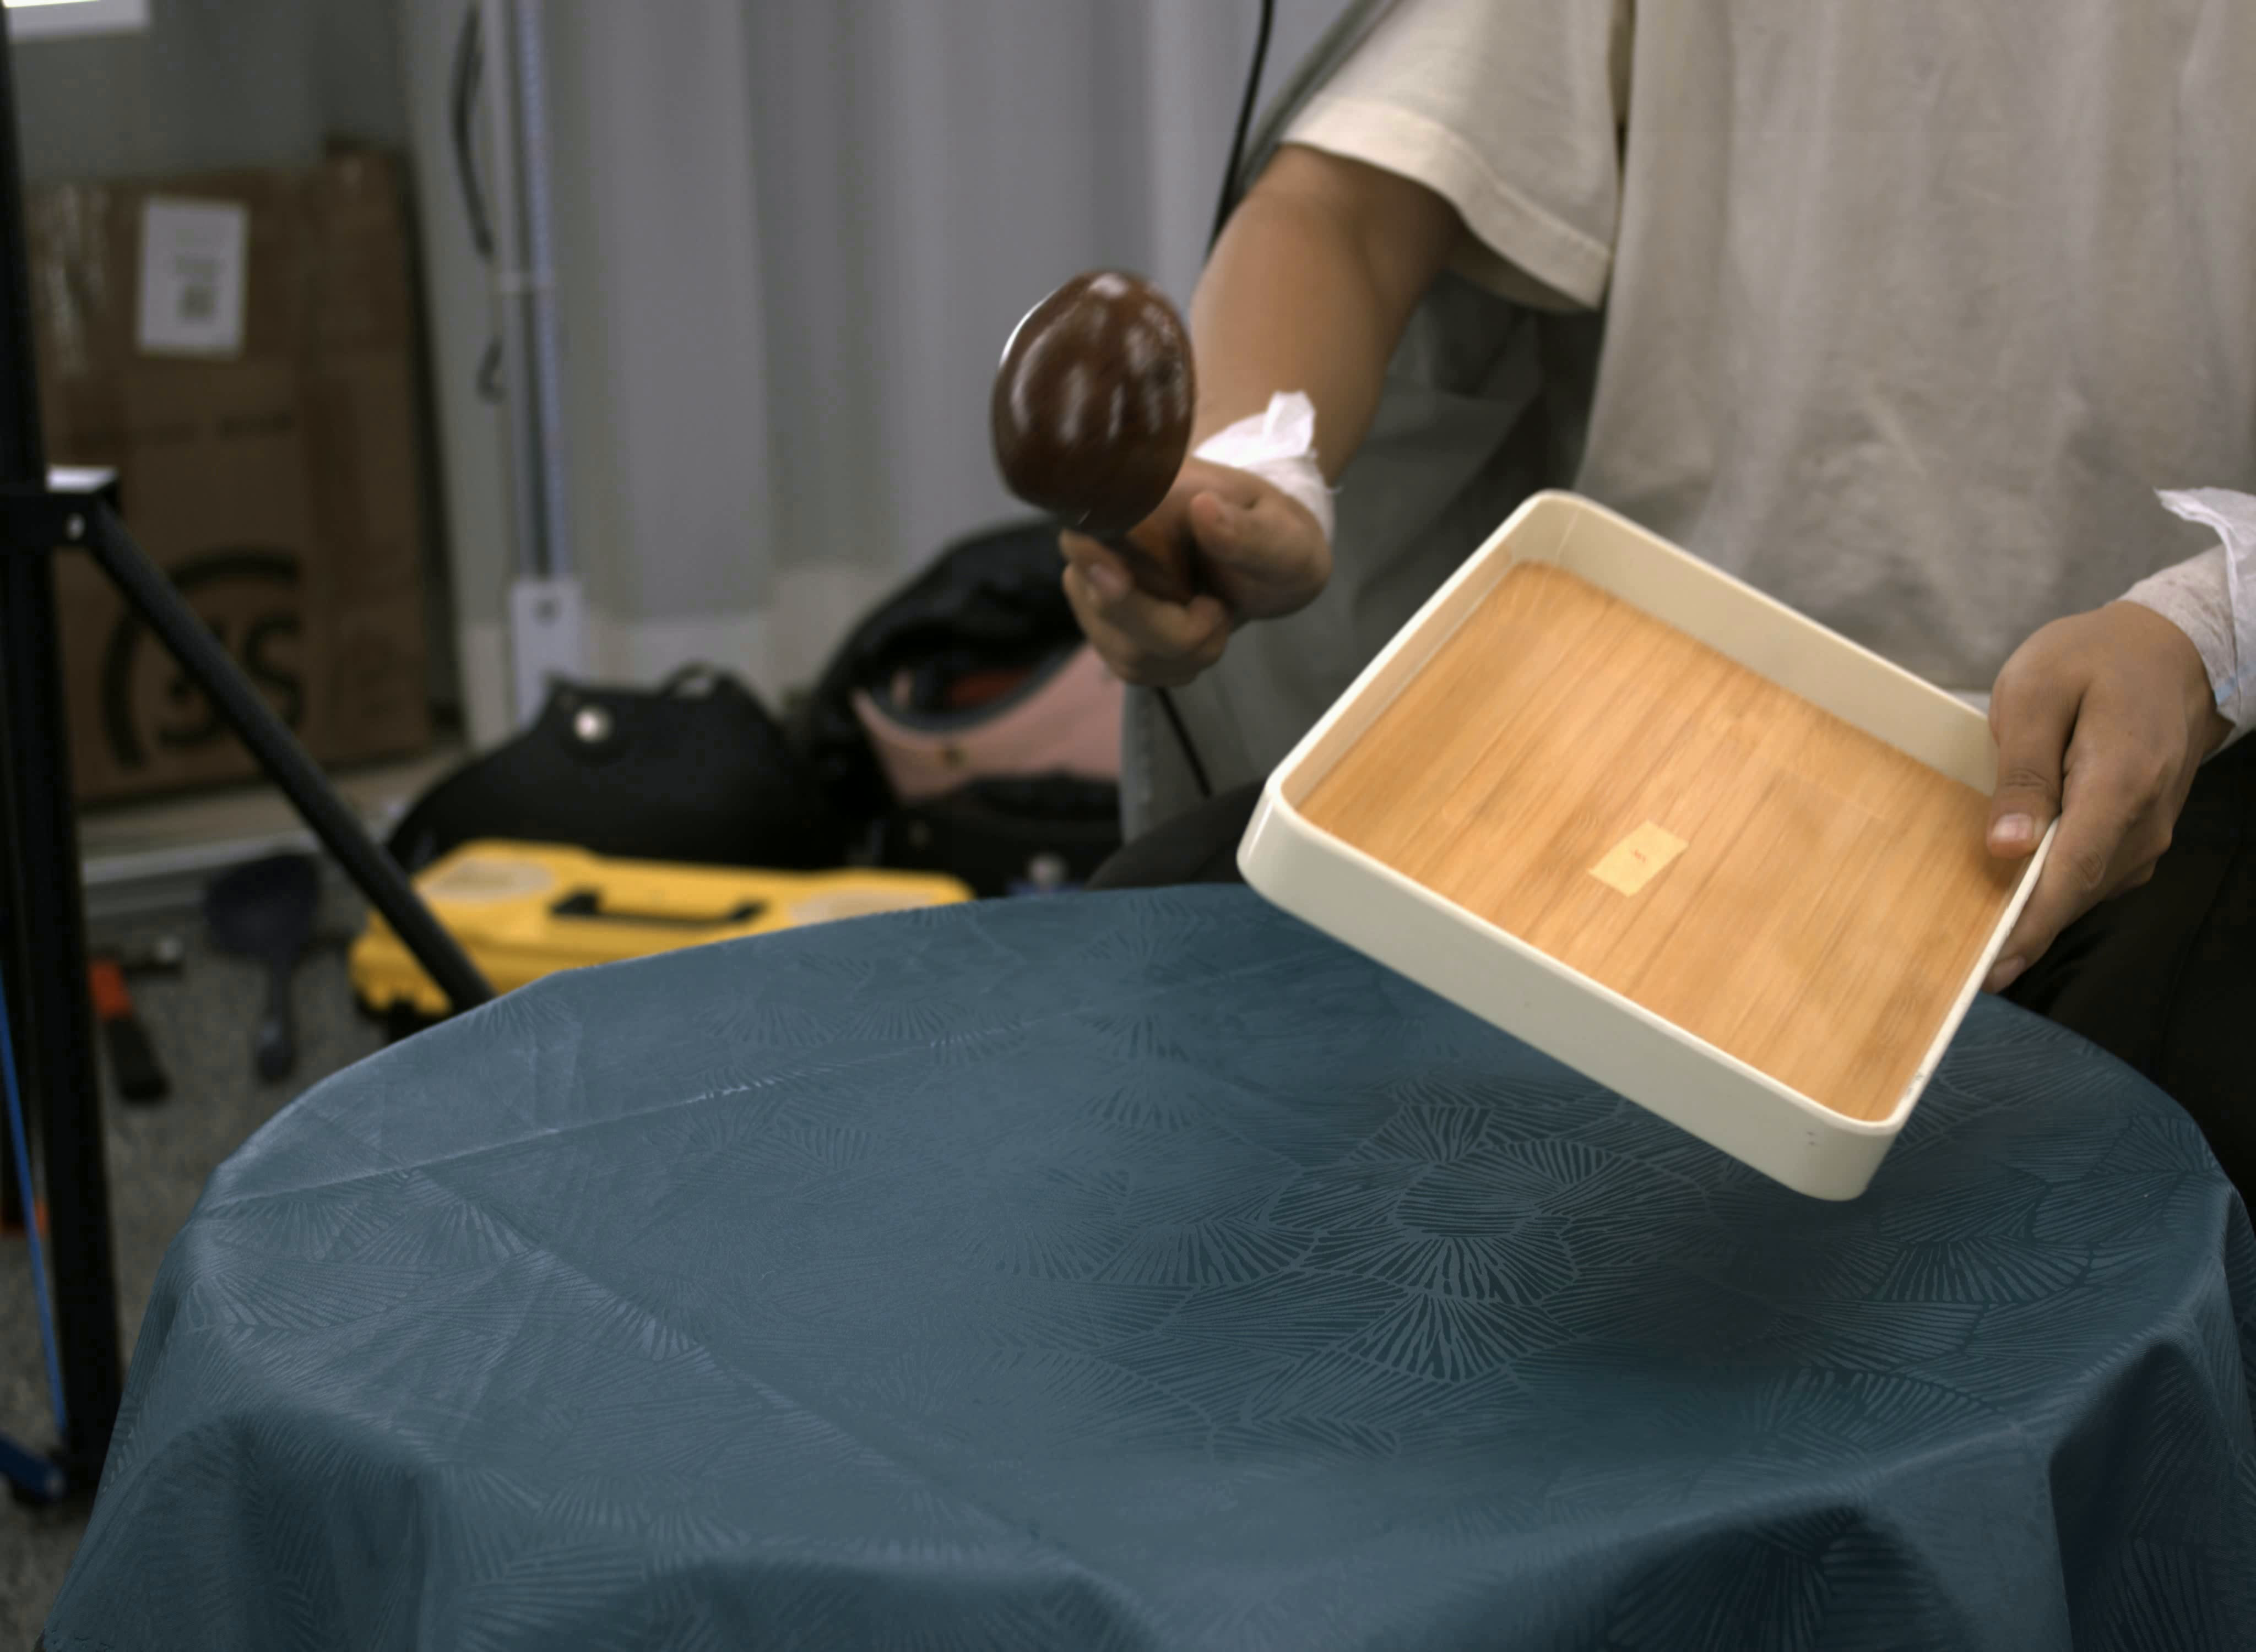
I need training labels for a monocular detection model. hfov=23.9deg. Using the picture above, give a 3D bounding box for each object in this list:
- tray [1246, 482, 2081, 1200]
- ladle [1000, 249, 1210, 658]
[{"bbox_3d":[0.159,-0.003,1.495,0.193,0.027,0.297,29,27,9],"label":"tray"},{"bbox_3d":[0.018,-0.106,1.679,0.077,0.082,0.269,-4,-15,15],"label":"ladle"}]
